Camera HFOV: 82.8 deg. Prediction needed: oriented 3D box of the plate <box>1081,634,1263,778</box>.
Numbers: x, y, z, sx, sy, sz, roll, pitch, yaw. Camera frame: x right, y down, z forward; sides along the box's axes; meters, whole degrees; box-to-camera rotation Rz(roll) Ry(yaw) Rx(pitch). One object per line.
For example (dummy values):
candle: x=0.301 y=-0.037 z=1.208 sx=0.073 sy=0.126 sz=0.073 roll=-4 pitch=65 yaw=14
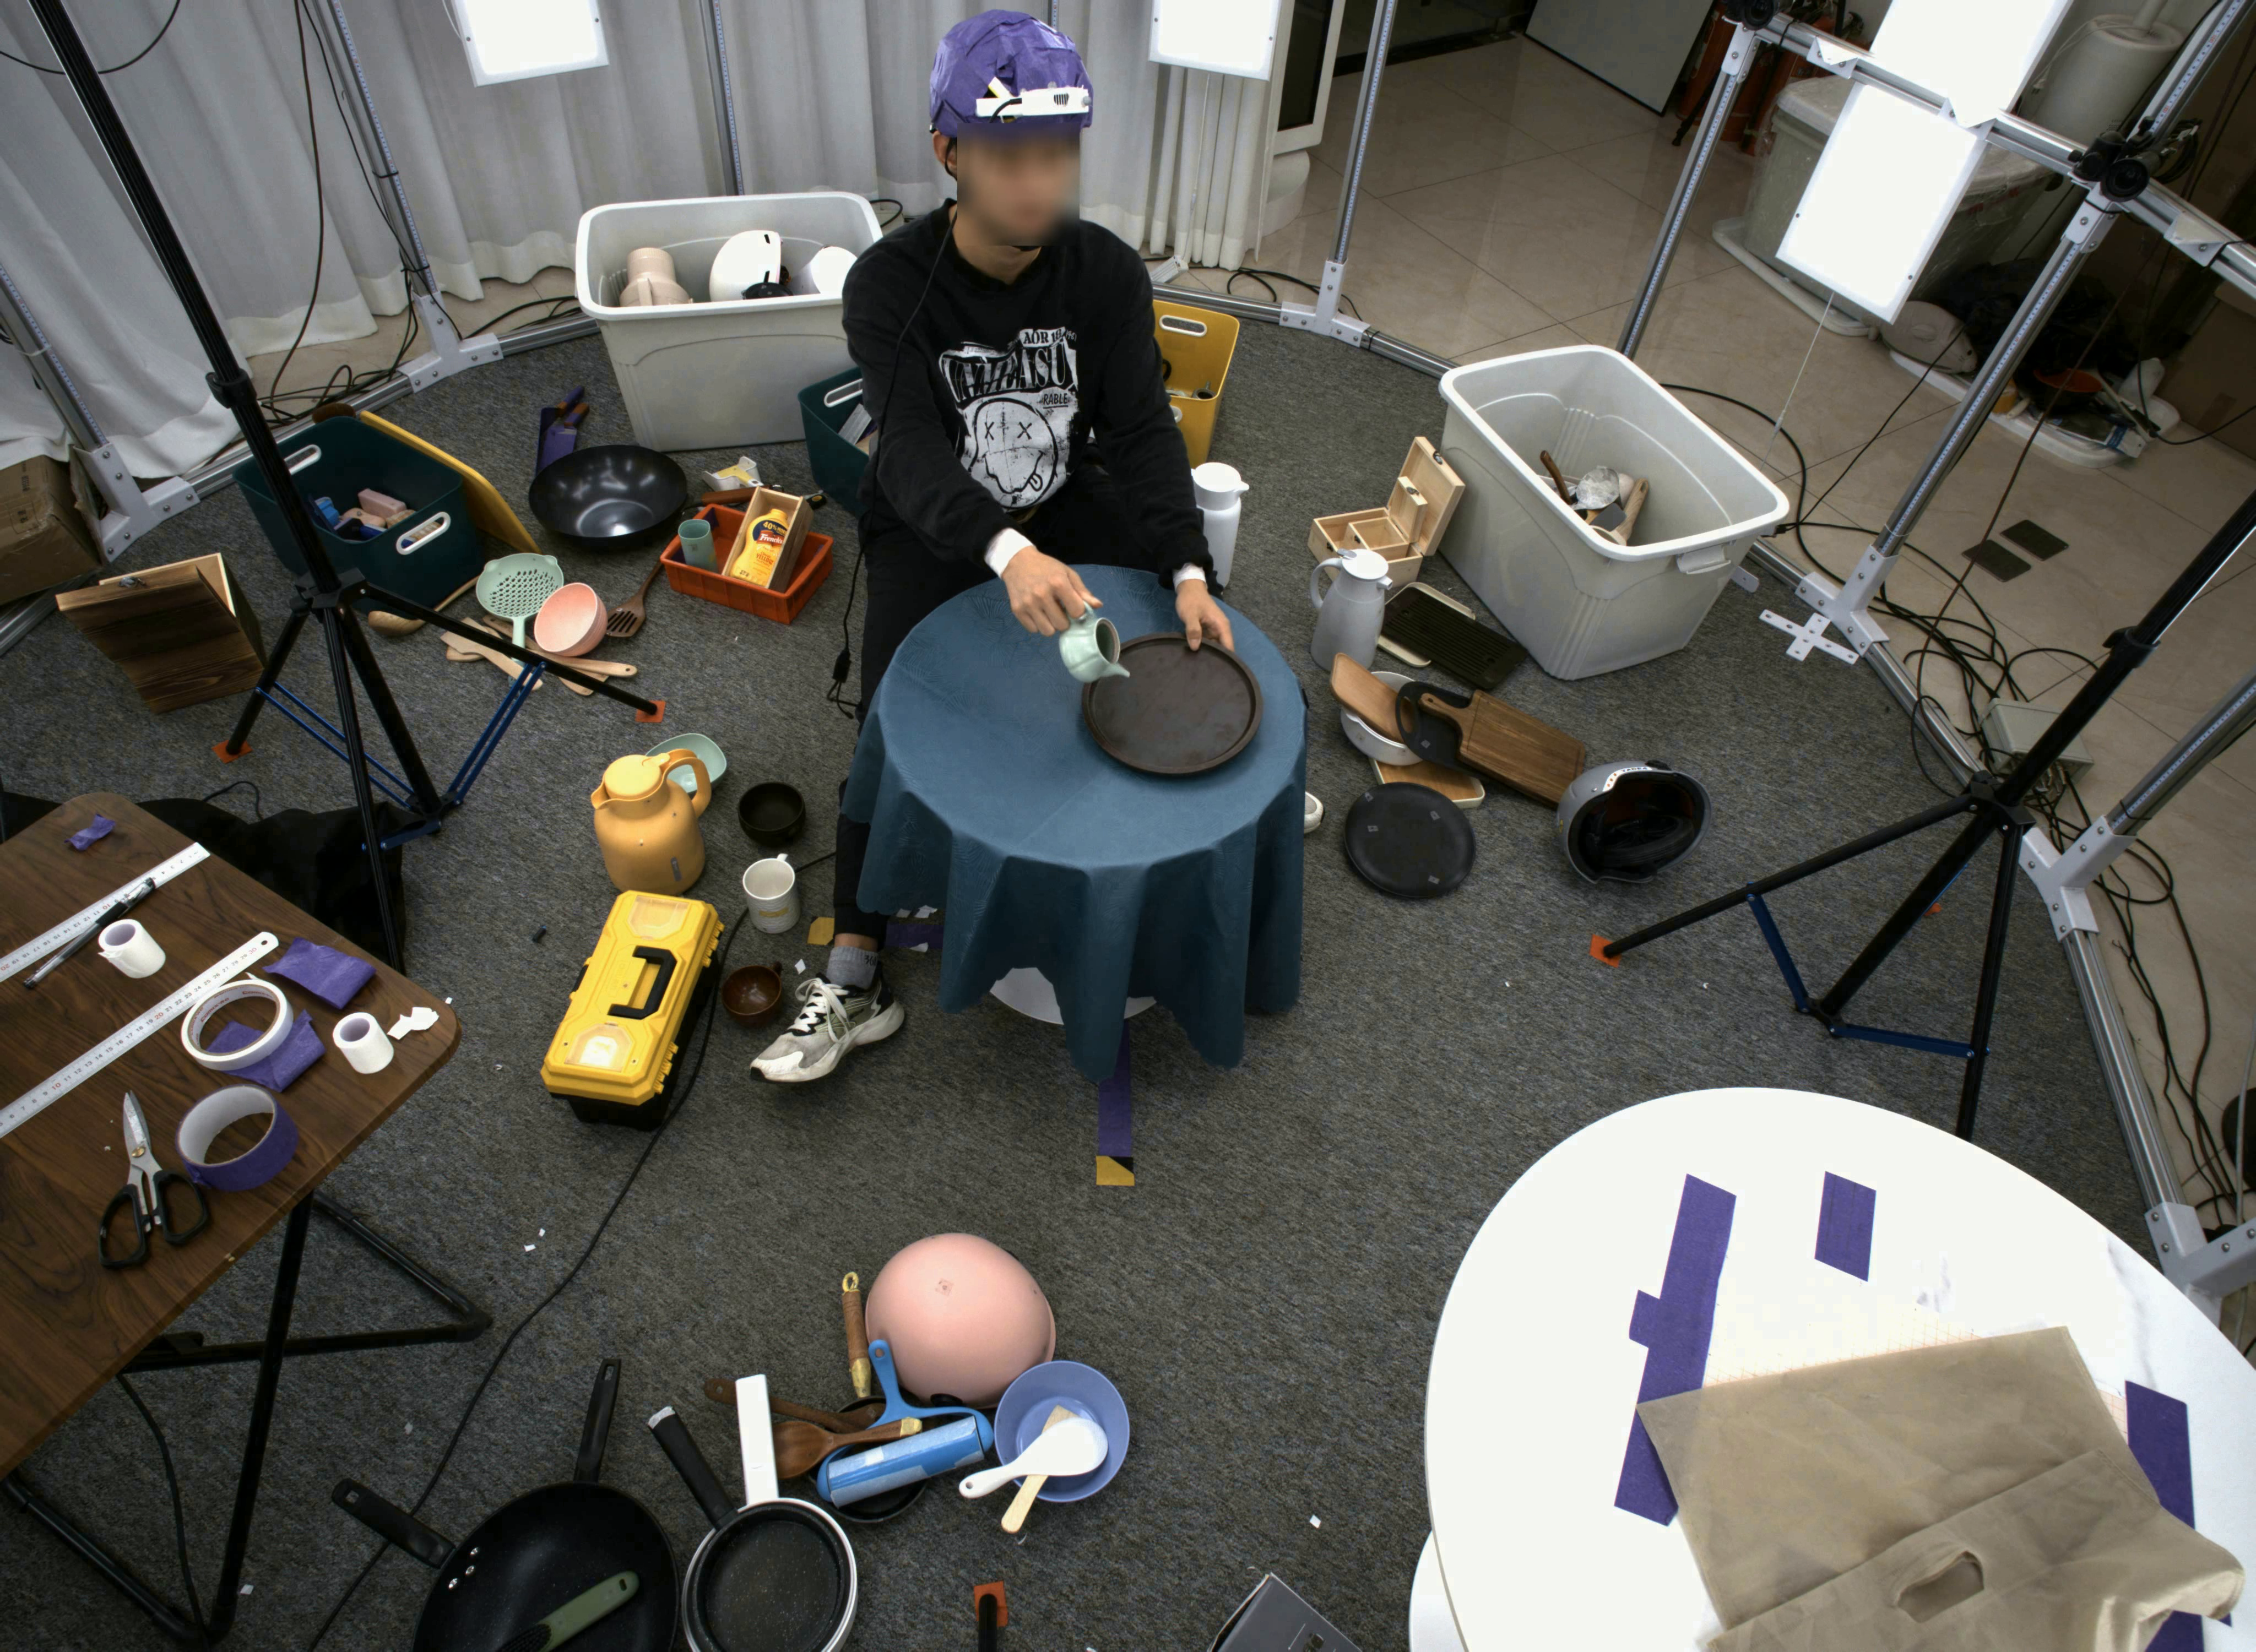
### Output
plate: x=0.061 y=-0.170 z=1.788 sx=0.254 sy=0.028 sz=0.261 roll=-1 pitch=56 yaw=1

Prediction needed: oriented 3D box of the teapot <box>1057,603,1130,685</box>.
teapot: x=-0.053 y=-0.241 z=1.694 sx=0.061 sy=0.134 sz=0.098 roll=-10 pitch=44 yaw=31
